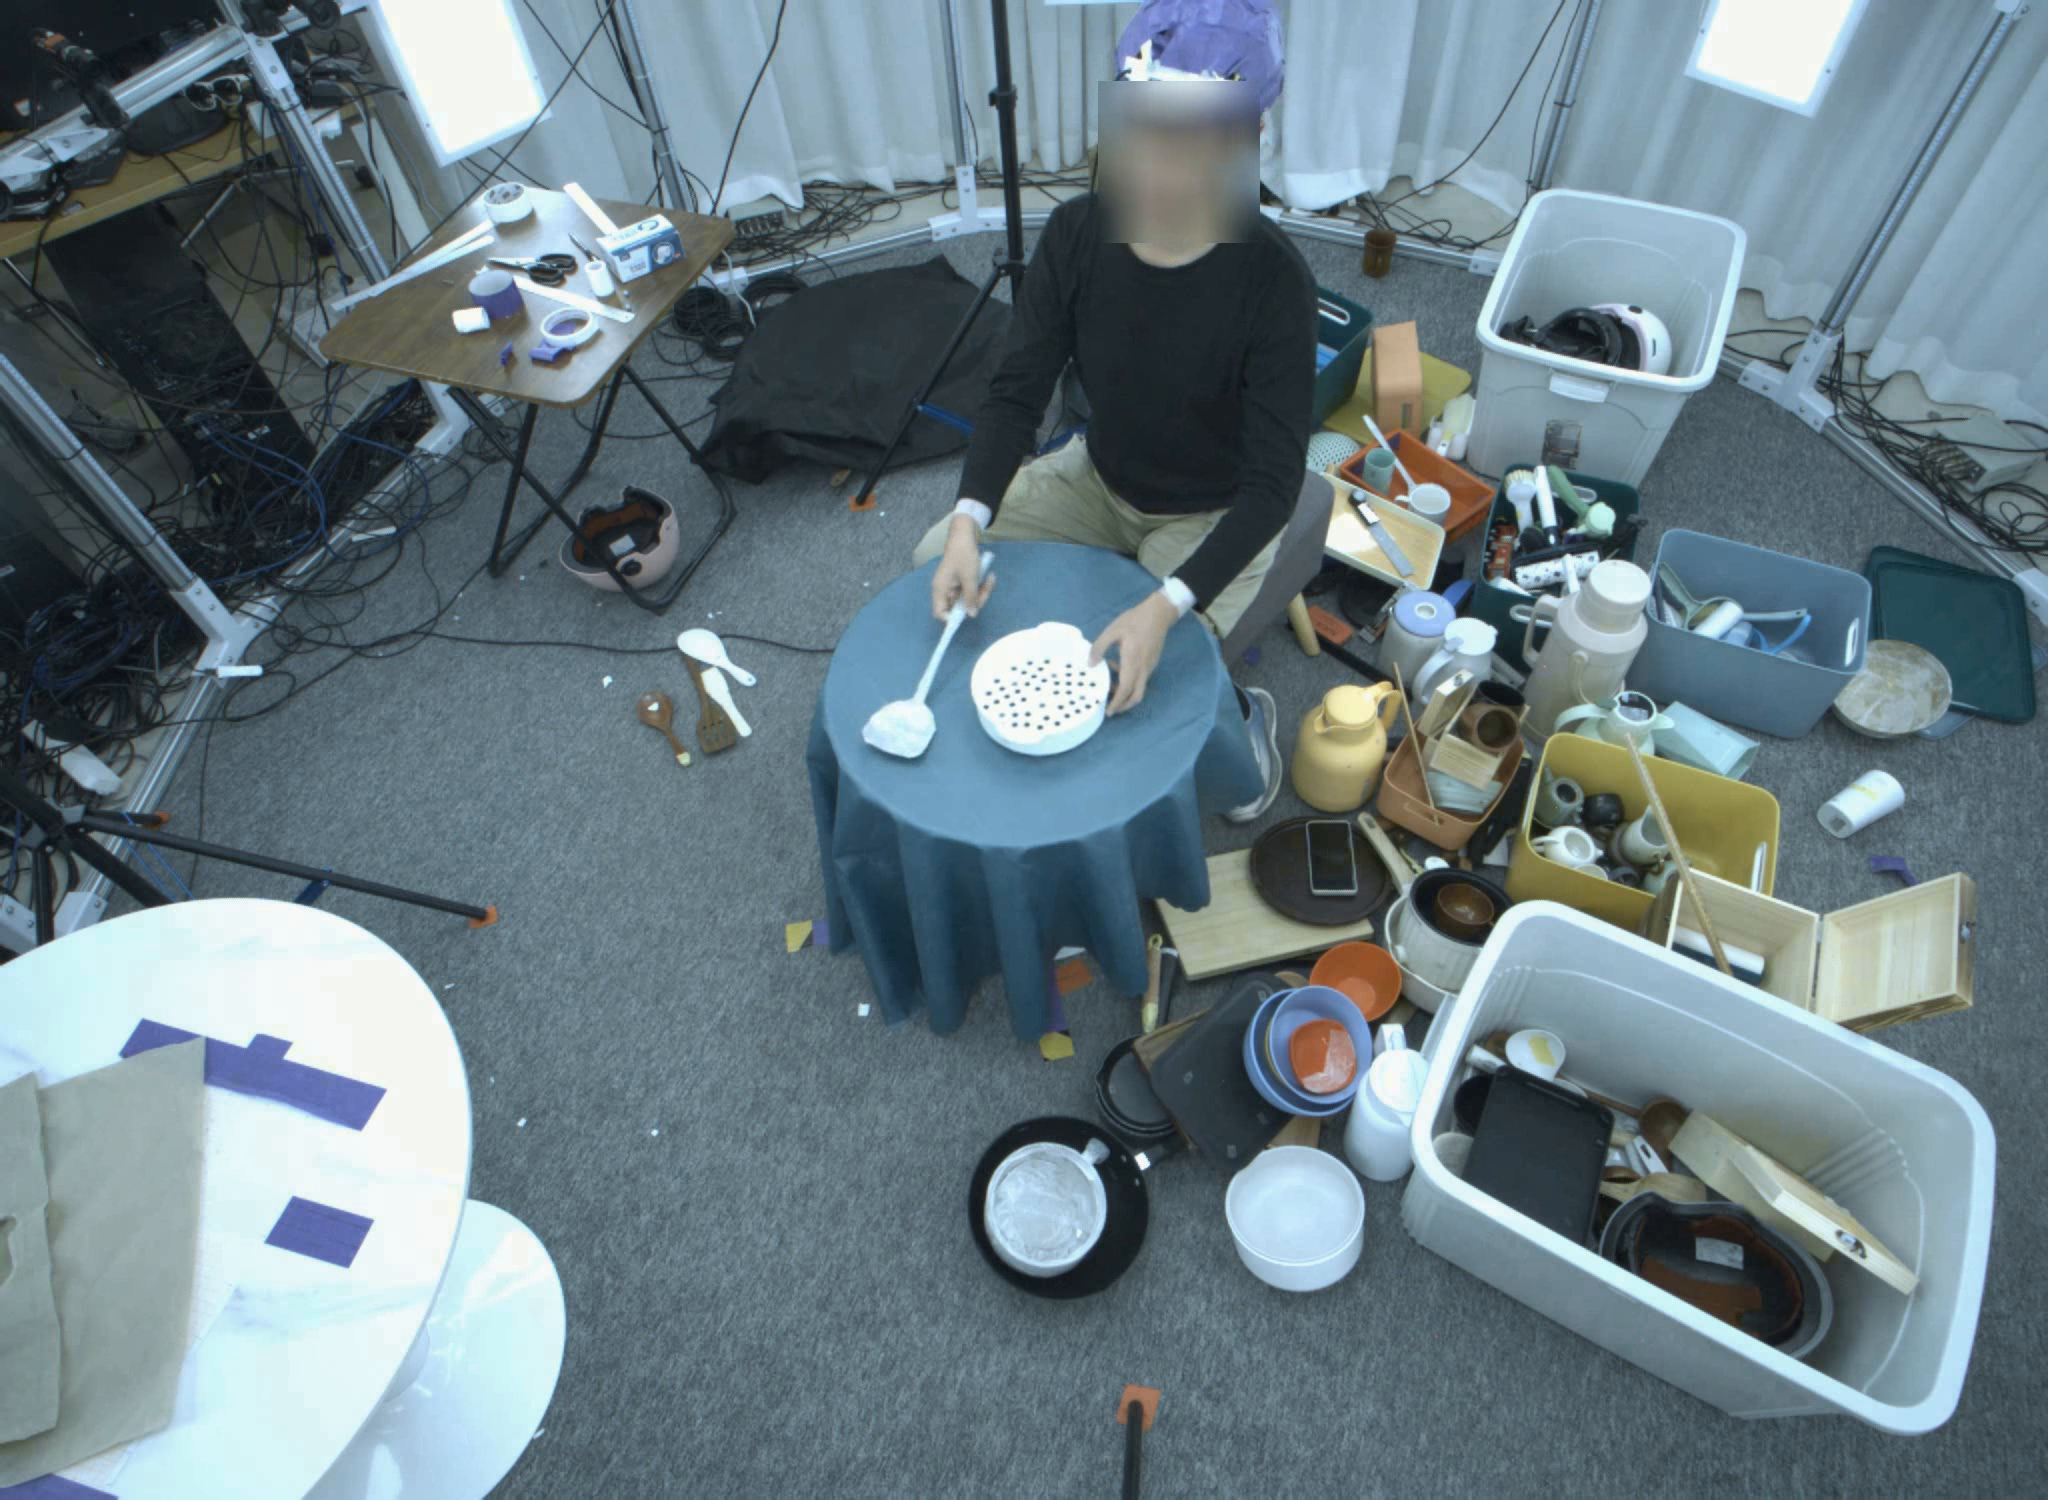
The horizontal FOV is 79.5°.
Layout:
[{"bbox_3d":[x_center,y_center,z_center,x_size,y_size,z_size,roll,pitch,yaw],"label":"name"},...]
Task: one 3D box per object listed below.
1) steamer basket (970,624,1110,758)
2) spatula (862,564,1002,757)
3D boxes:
[{"bbox_3d":[0.024,-0.081,1.801,0.200,0.070,0.230,14,56,11],"label":"steamer basket"},{"bbox_3d":[-0.123,-0.146,1.842,0.098,0.045,0.364,21,72,13],"label":"spatula"}]
